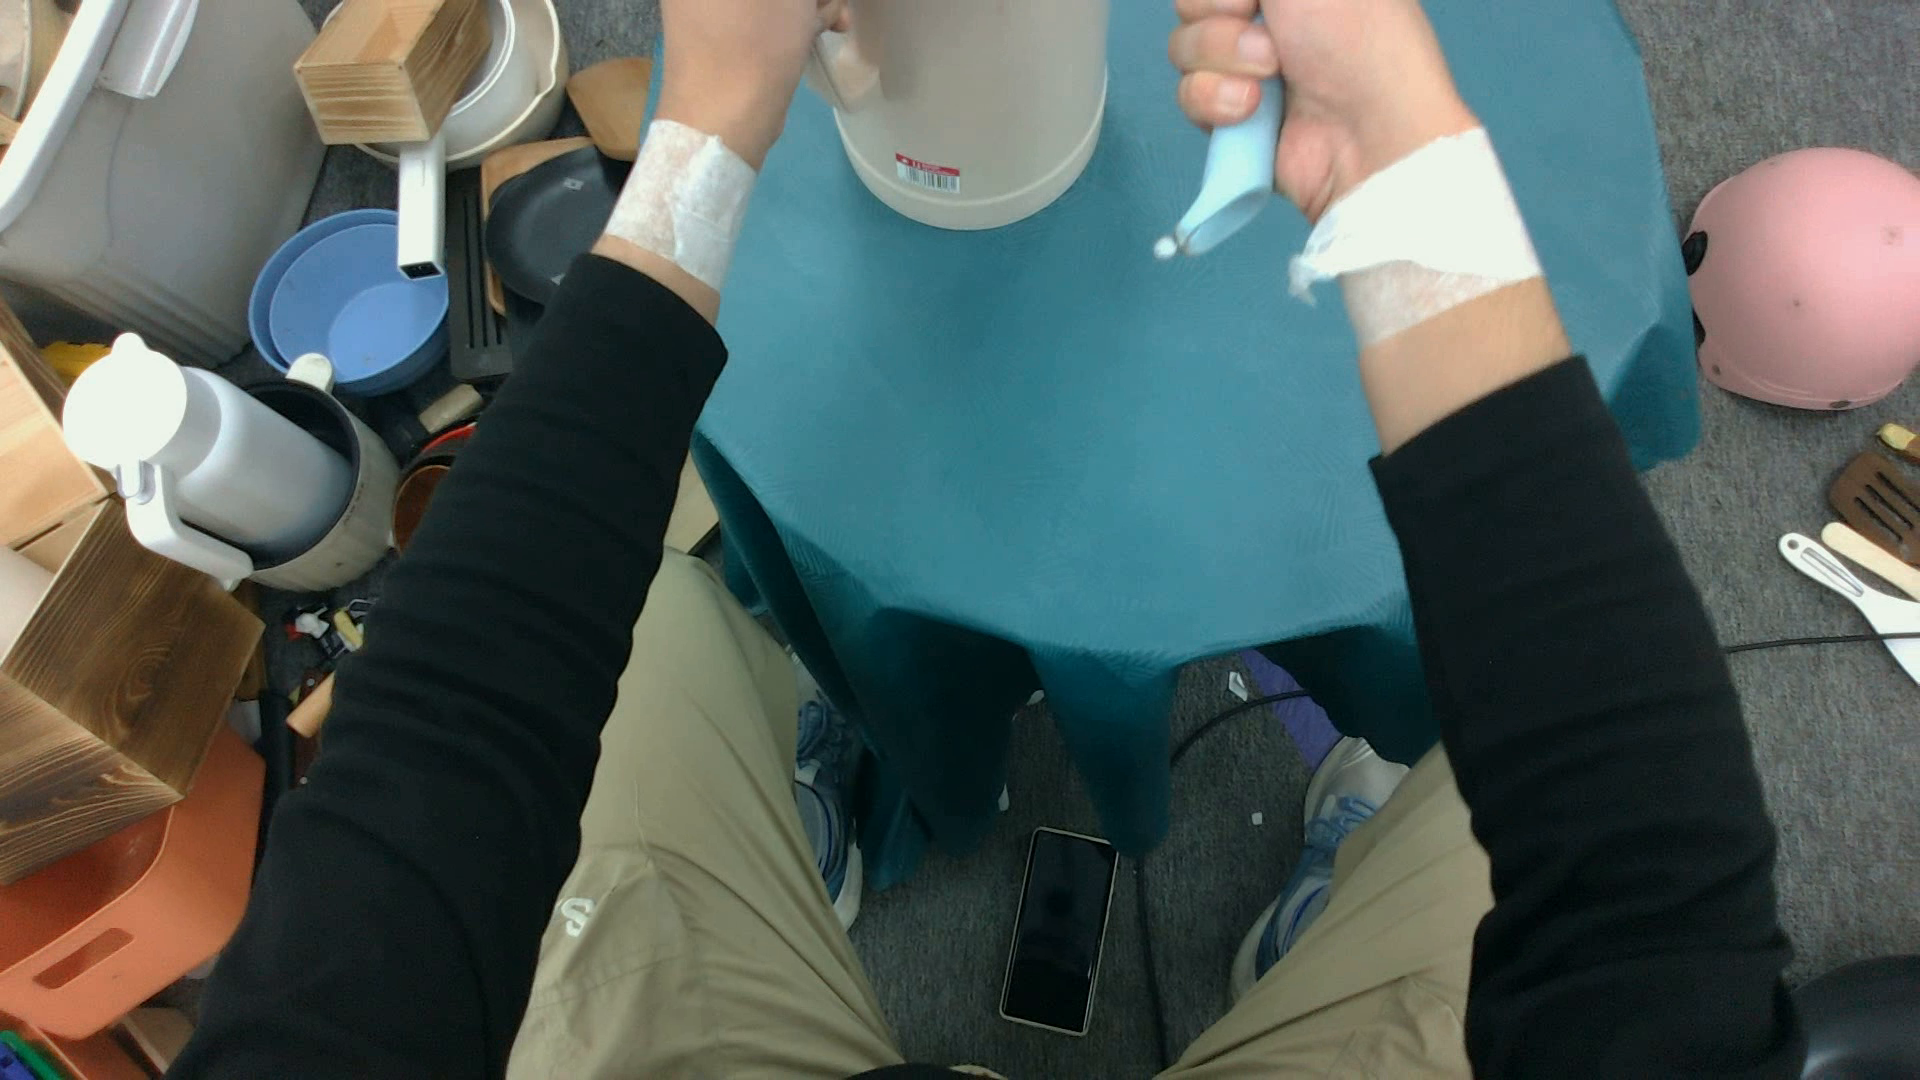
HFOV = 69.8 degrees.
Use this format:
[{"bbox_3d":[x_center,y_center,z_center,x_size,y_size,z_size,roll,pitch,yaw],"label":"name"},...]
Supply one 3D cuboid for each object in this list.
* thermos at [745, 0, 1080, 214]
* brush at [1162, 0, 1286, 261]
[{"bbox_3d":[-0.026,-0.304,0.631,0.175,0.405,0.207,36,79,9],"label":"thermos"},{"bbox_3d":[0.077,-0.262,0.510,0.083,0.084,0.326,13,83,-28],"label":"brush"}]
